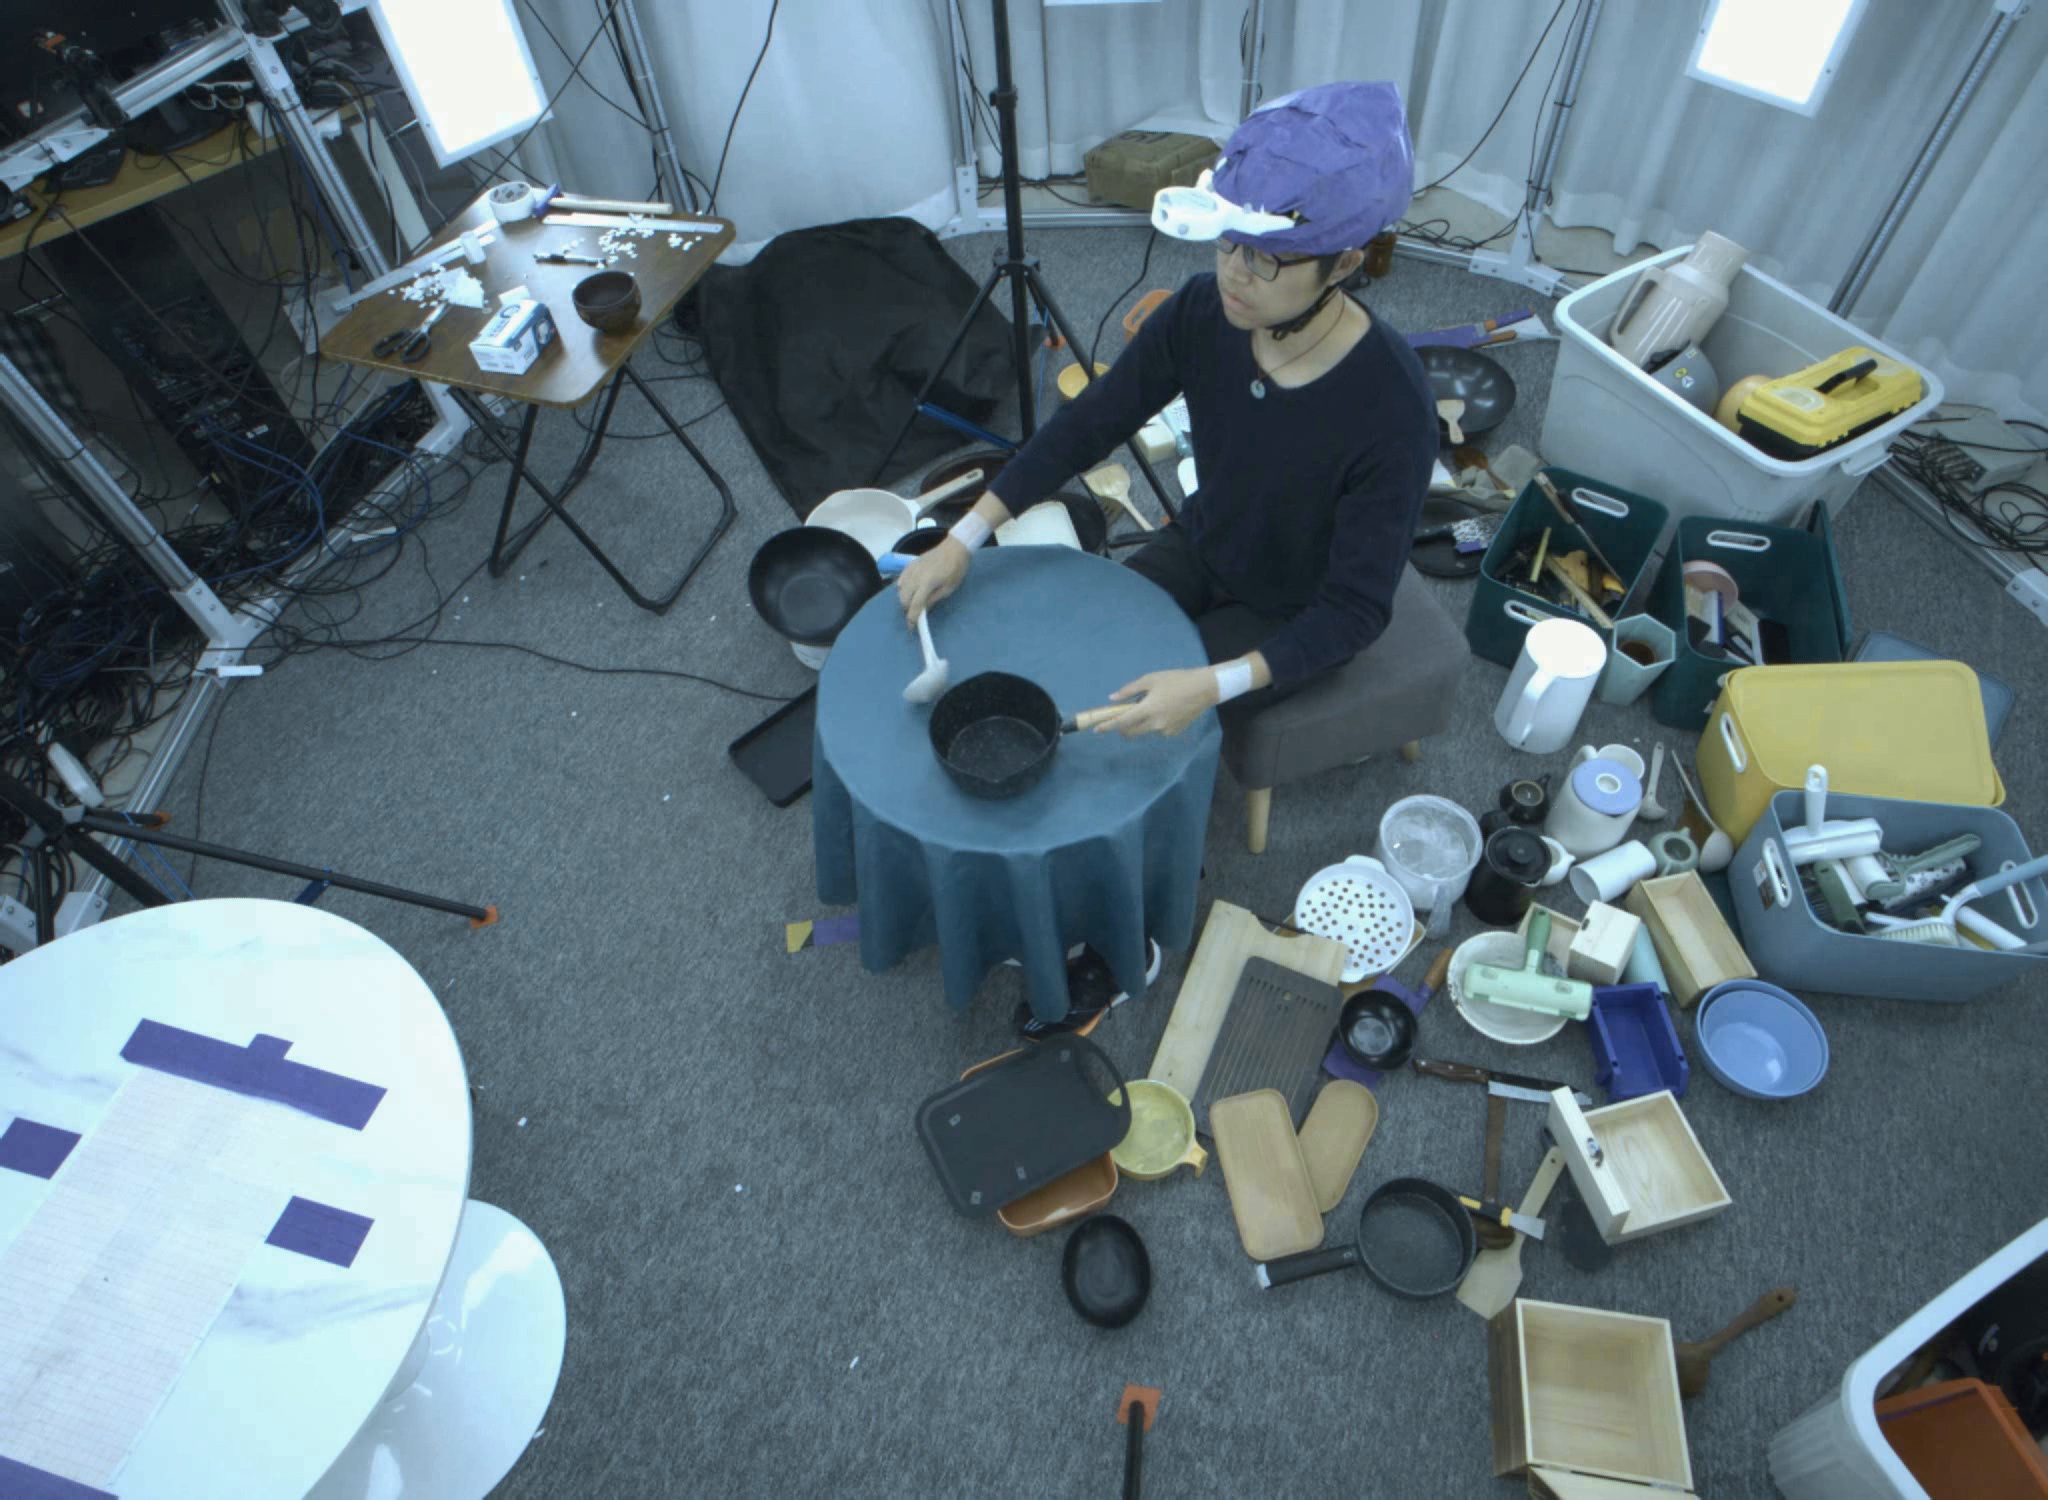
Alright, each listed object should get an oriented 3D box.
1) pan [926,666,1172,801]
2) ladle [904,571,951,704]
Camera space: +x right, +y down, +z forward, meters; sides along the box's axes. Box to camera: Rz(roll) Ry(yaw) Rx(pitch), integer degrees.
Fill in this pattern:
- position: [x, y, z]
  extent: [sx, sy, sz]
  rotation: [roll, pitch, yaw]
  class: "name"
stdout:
- position: [0.037, -0.028, 1.739]
  extent: [0.343, 0.109, 0.205]
  rotation: [-6, 53, 0]
  class: "pan"
- position: [-0.167, -0.185, 1.866]
  extent: [0.071, 0.089, 0.270]
  rotation: [11, 47, -33]
  class: "ladle"
